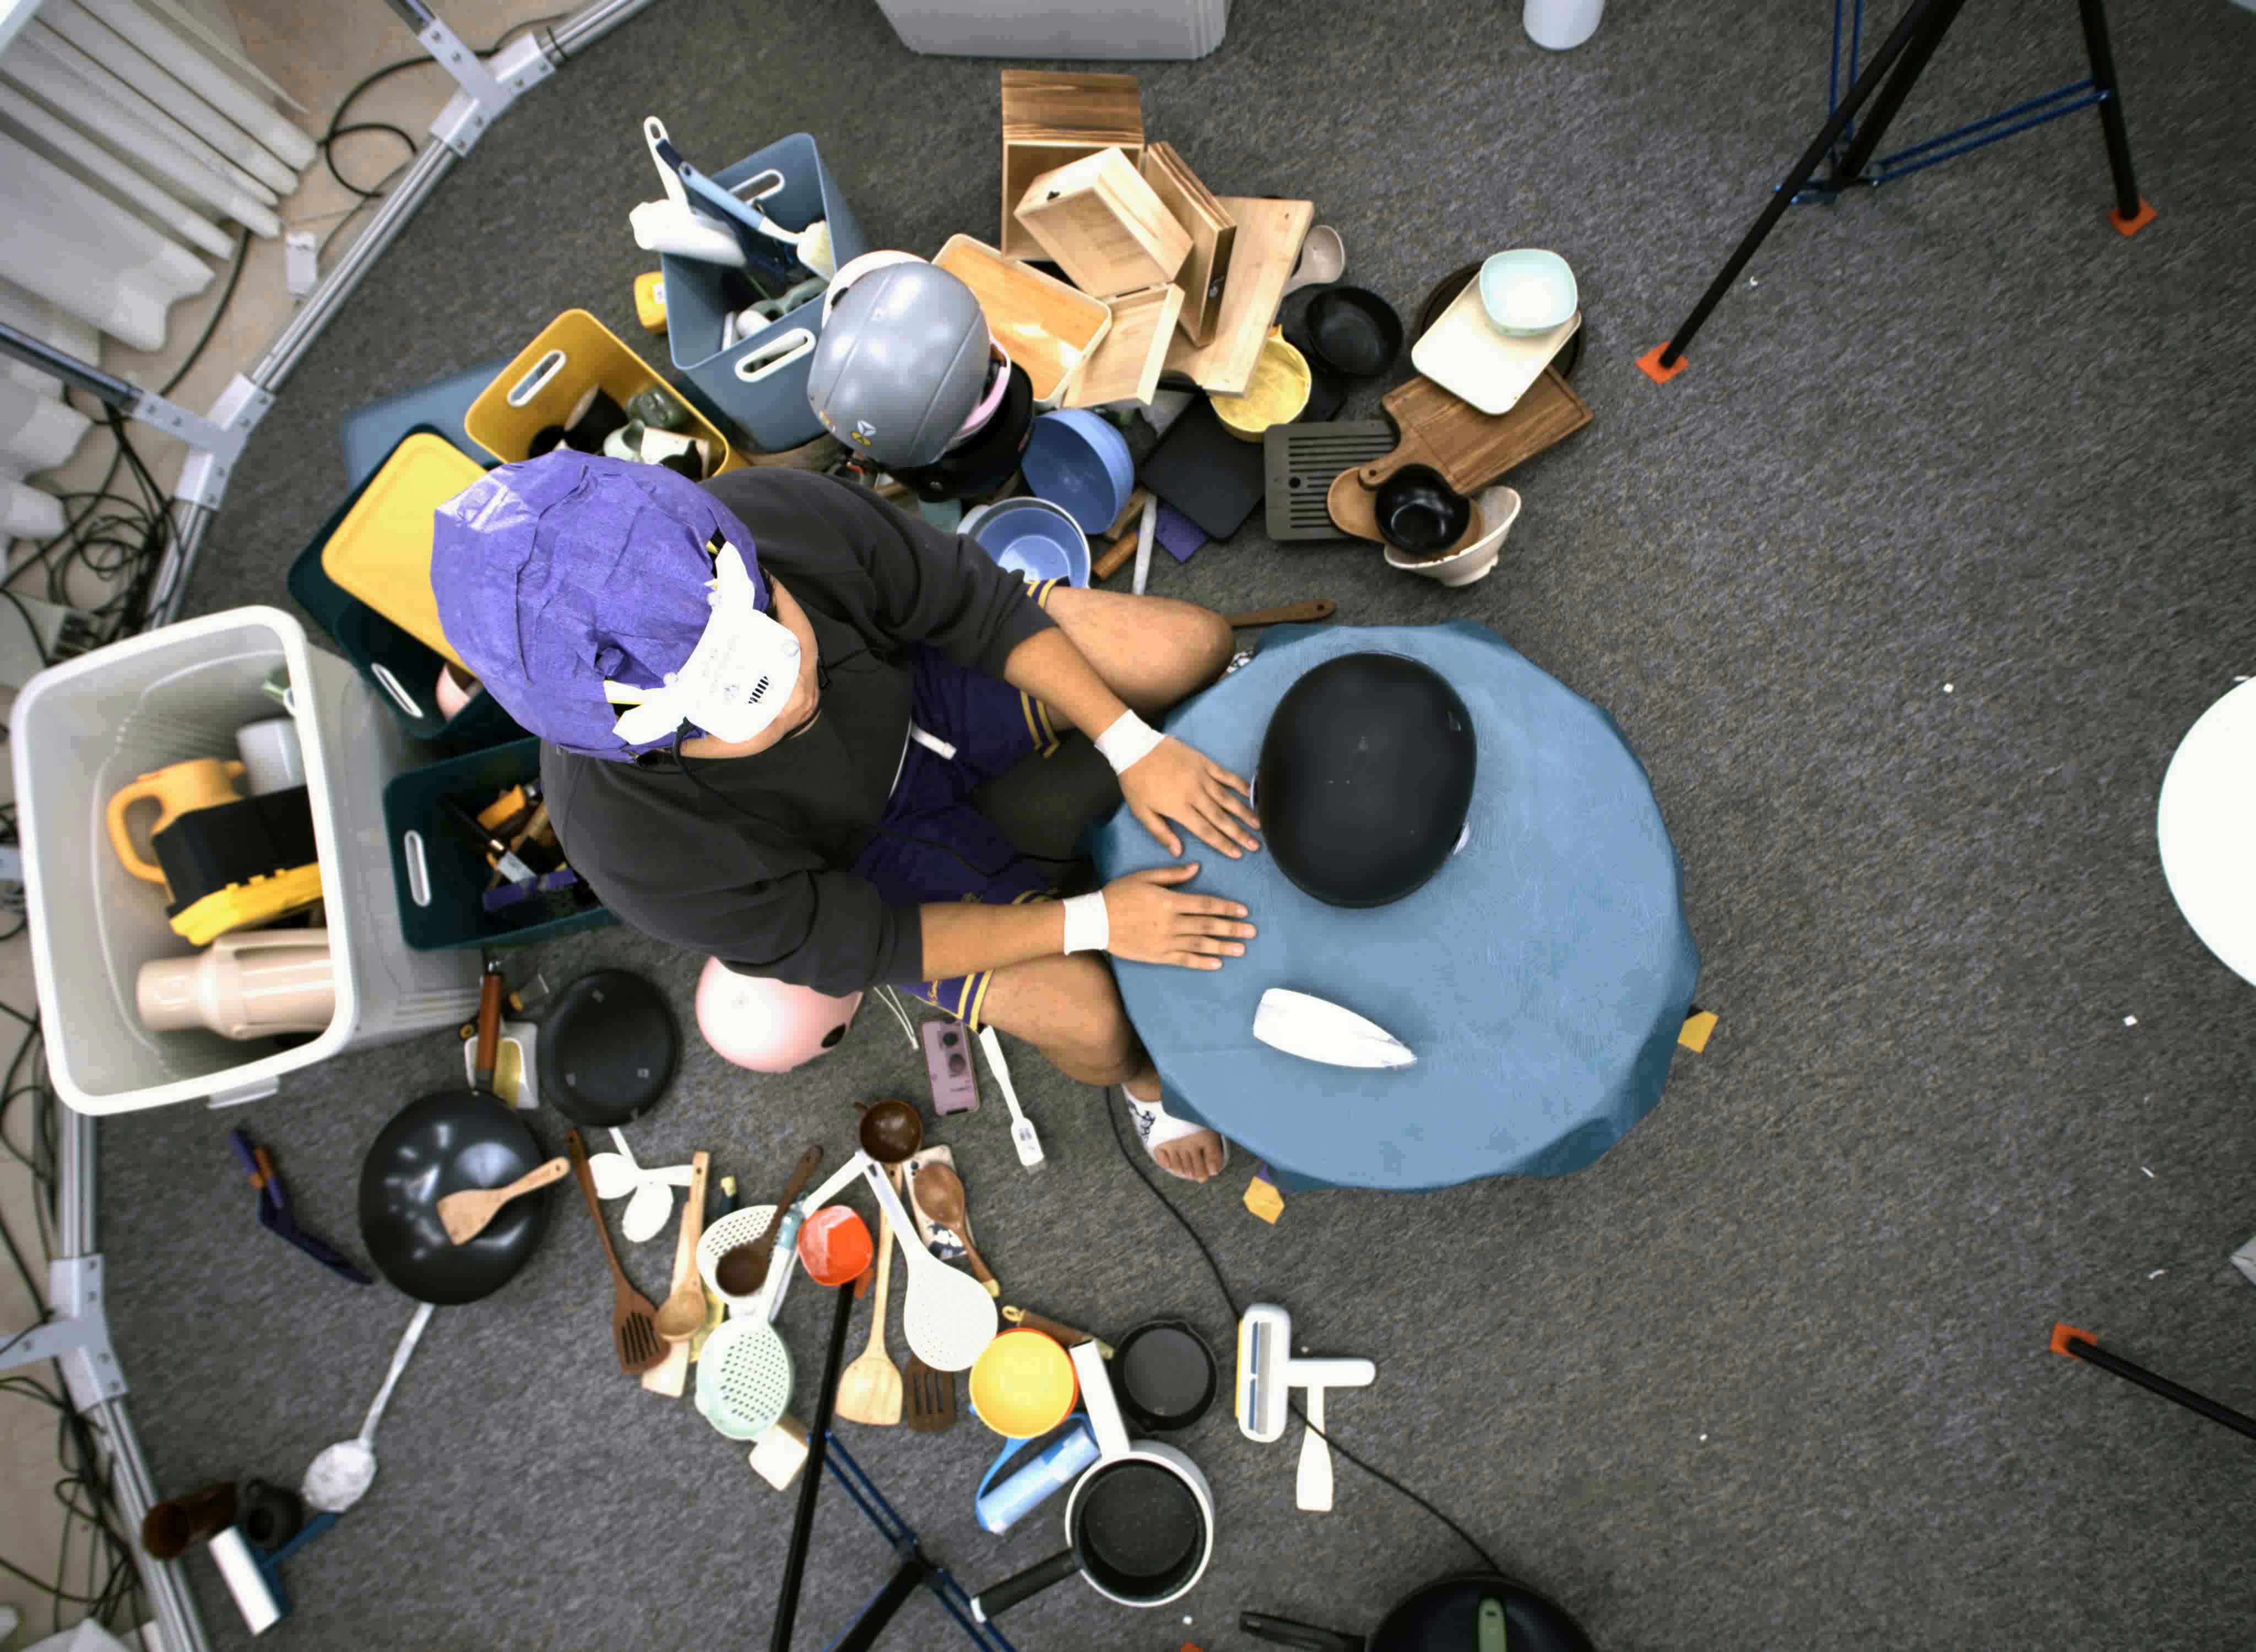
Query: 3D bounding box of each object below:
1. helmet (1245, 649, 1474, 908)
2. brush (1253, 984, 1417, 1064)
[{"bbox_3d":[0.236,-0.054,1.391,0.230,0.166,0.273,15,91,11],"label":"helmet"},{"bbox_3d":[0.212,0.210,1.416,0.175,0.094,0.061,17,90,9],"label":"brush"}]
